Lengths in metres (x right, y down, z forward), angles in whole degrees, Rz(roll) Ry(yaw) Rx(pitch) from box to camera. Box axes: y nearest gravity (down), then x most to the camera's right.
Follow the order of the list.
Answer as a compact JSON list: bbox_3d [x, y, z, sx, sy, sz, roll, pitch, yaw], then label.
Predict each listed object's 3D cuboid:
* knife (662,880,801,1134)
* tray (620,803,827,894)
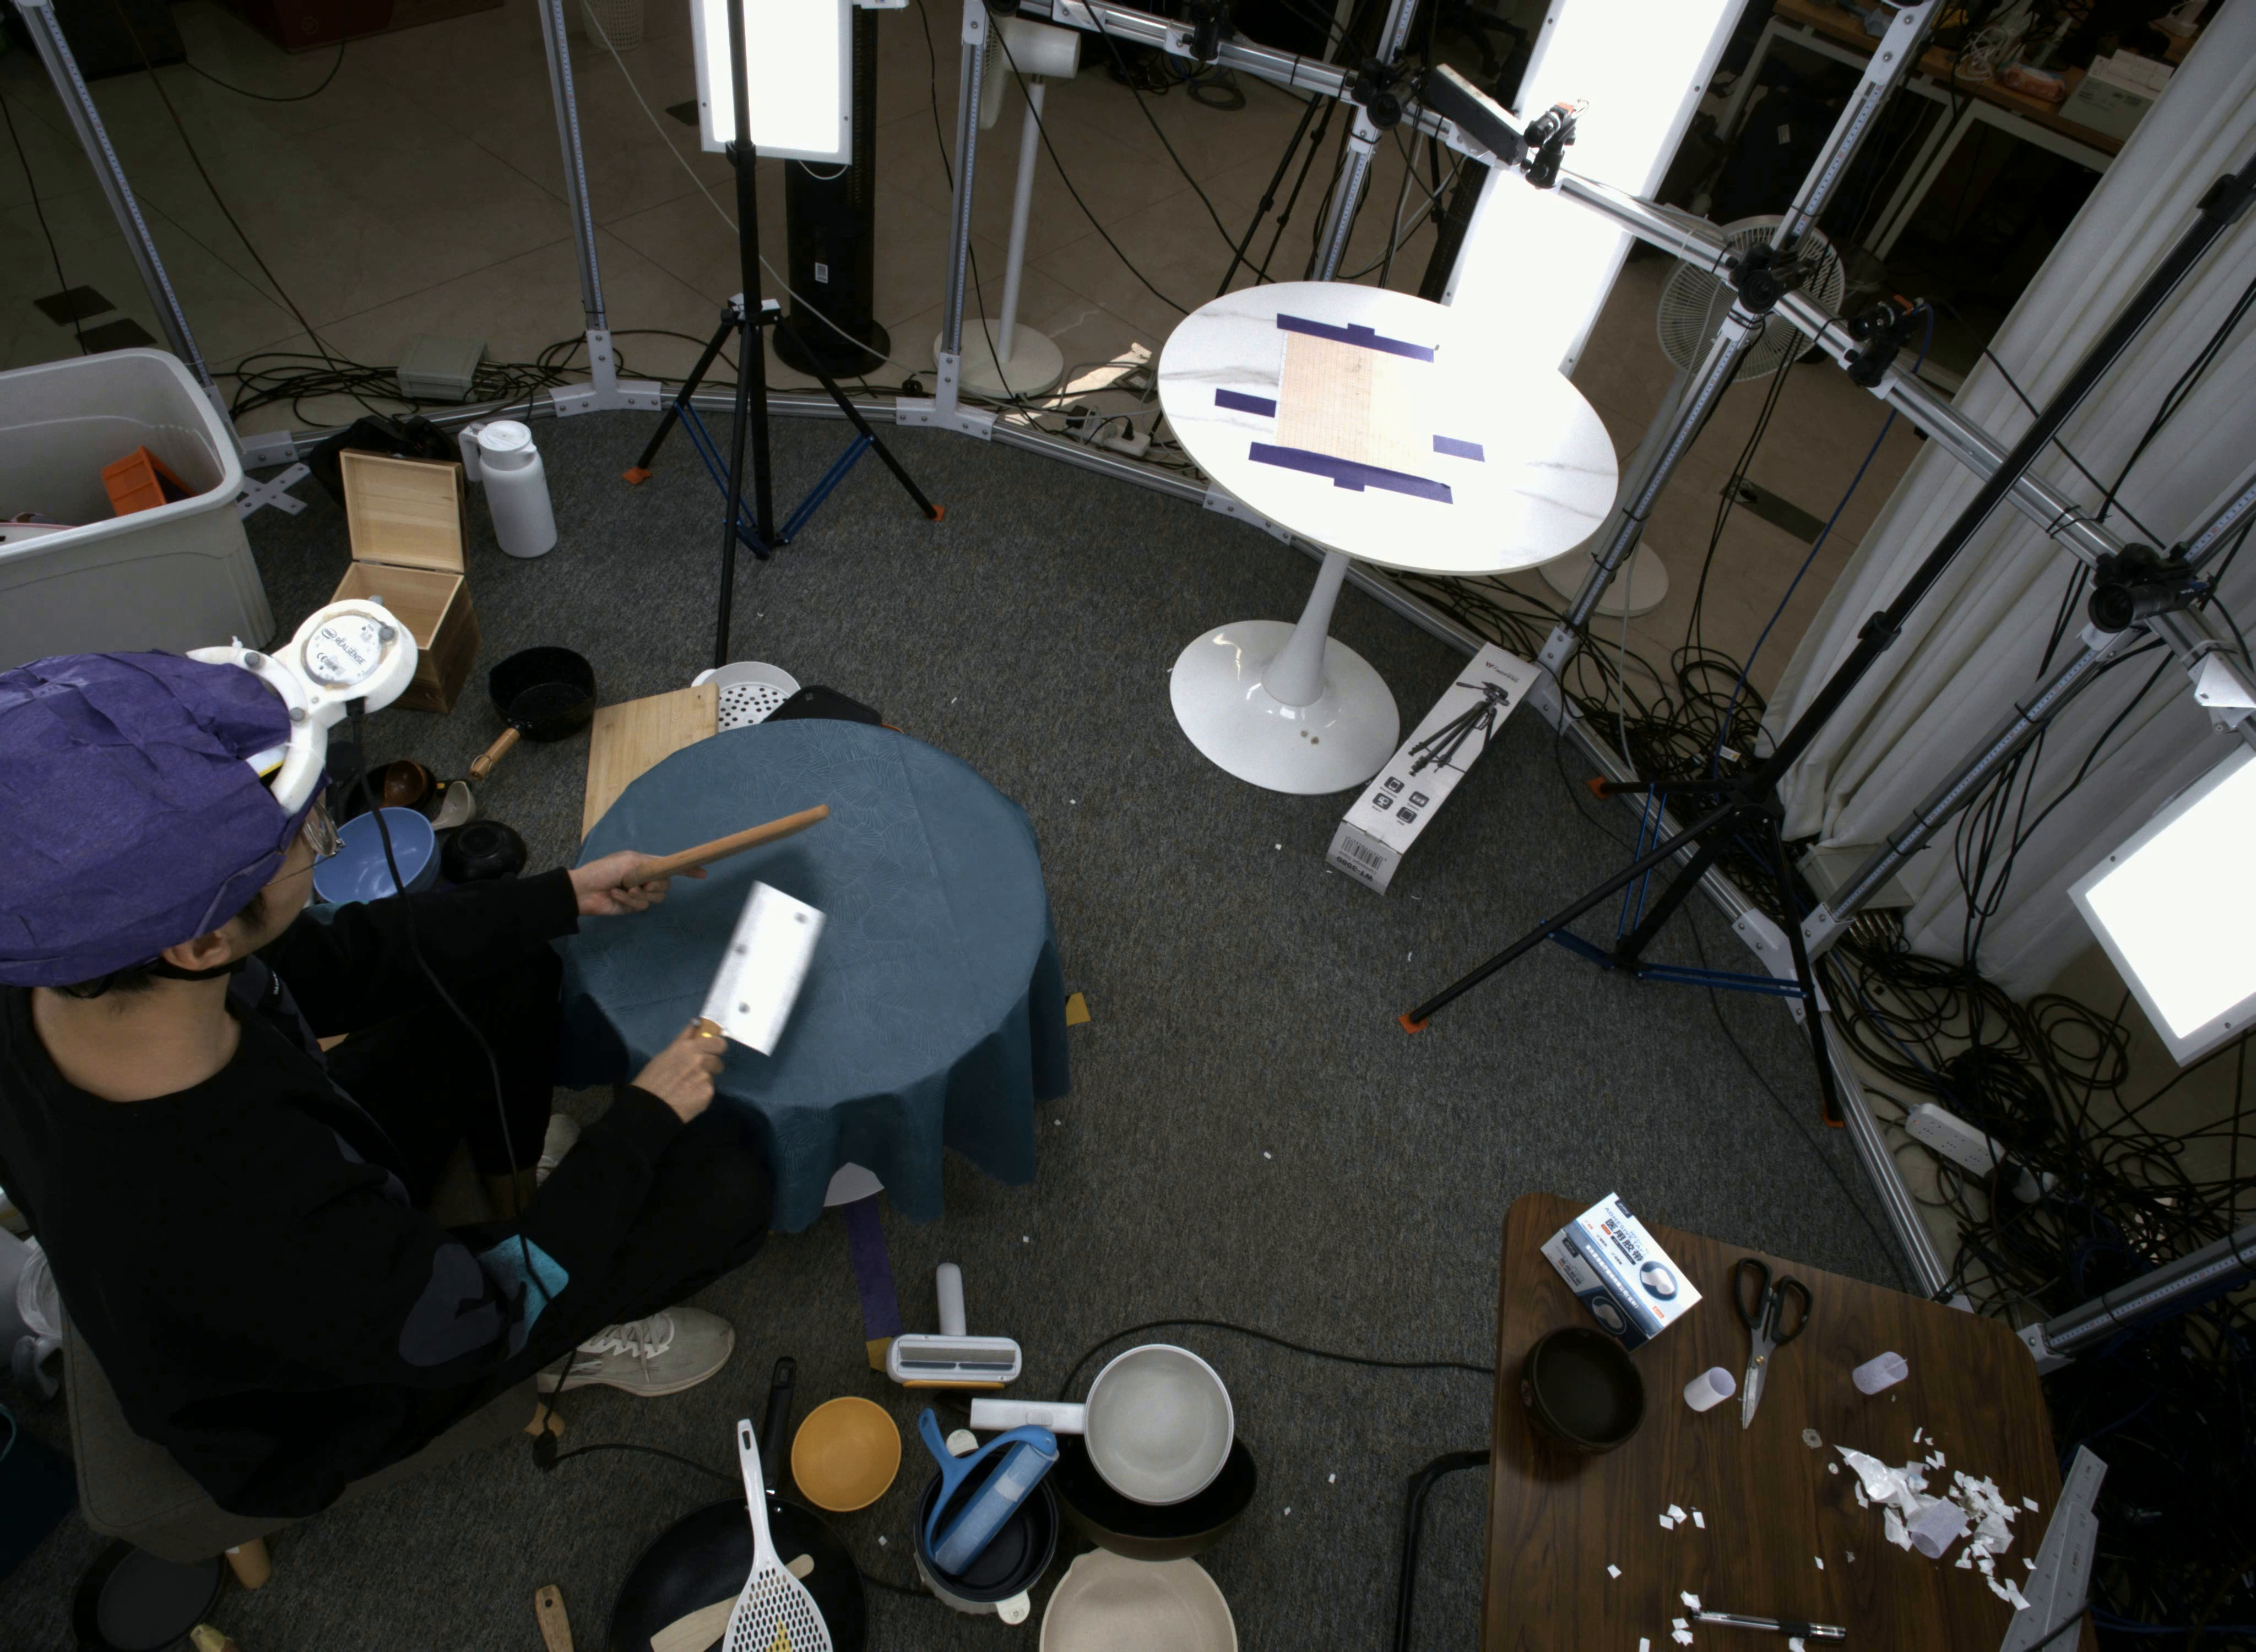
[{"bbox_3d":[-0.439,0.203,1.454,0.095,0.021,0.303,28,57,-26],"label":"knife"},{"bbox_3d":[-0.486,0.025,1.556,0.252,0.128,0.023,-23,87,-34],"label":"tray"}]
